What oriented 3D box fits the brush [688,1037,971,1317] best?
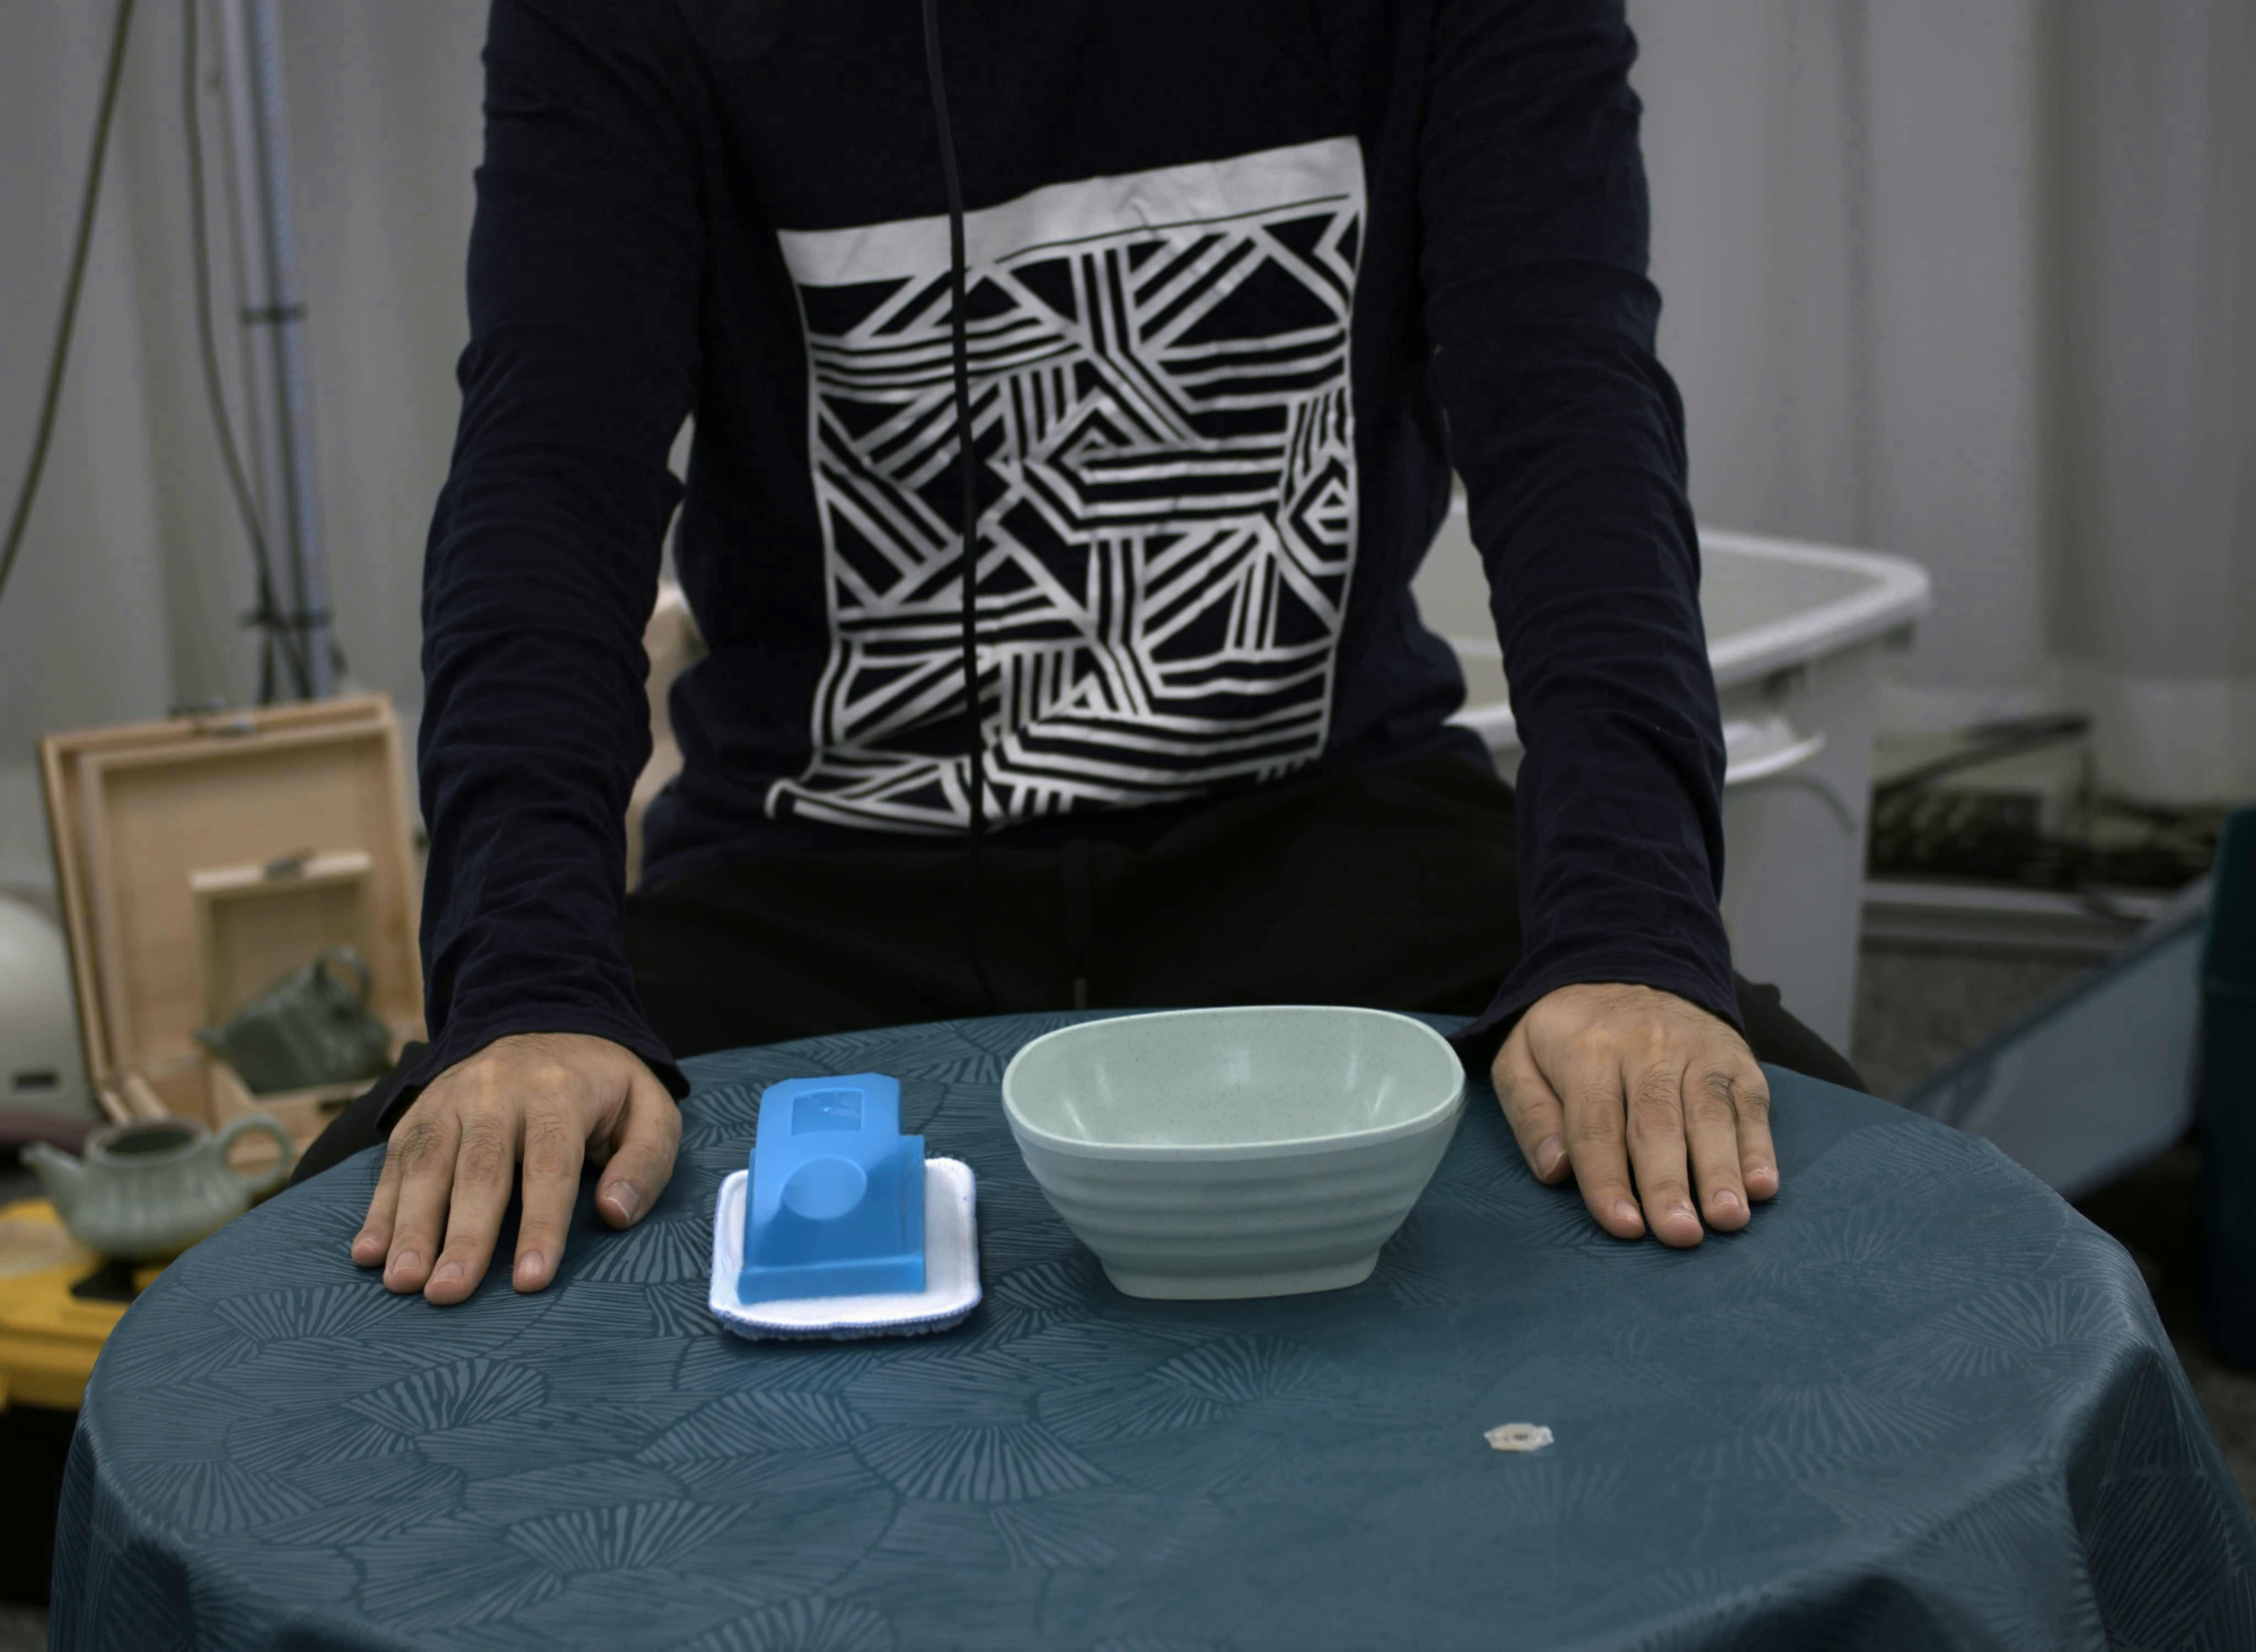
[{"bbox_3d":[-0.090,0.103,1.657,0.083,0.055,0.145,0,17,-1],"label":"brush"}]

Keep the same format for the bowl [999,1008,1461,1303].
[{"bbox_3d":[0.031,0.102,1.649,0.151,0.058,0.152,-1,15,0],"label":"bowl"}]
